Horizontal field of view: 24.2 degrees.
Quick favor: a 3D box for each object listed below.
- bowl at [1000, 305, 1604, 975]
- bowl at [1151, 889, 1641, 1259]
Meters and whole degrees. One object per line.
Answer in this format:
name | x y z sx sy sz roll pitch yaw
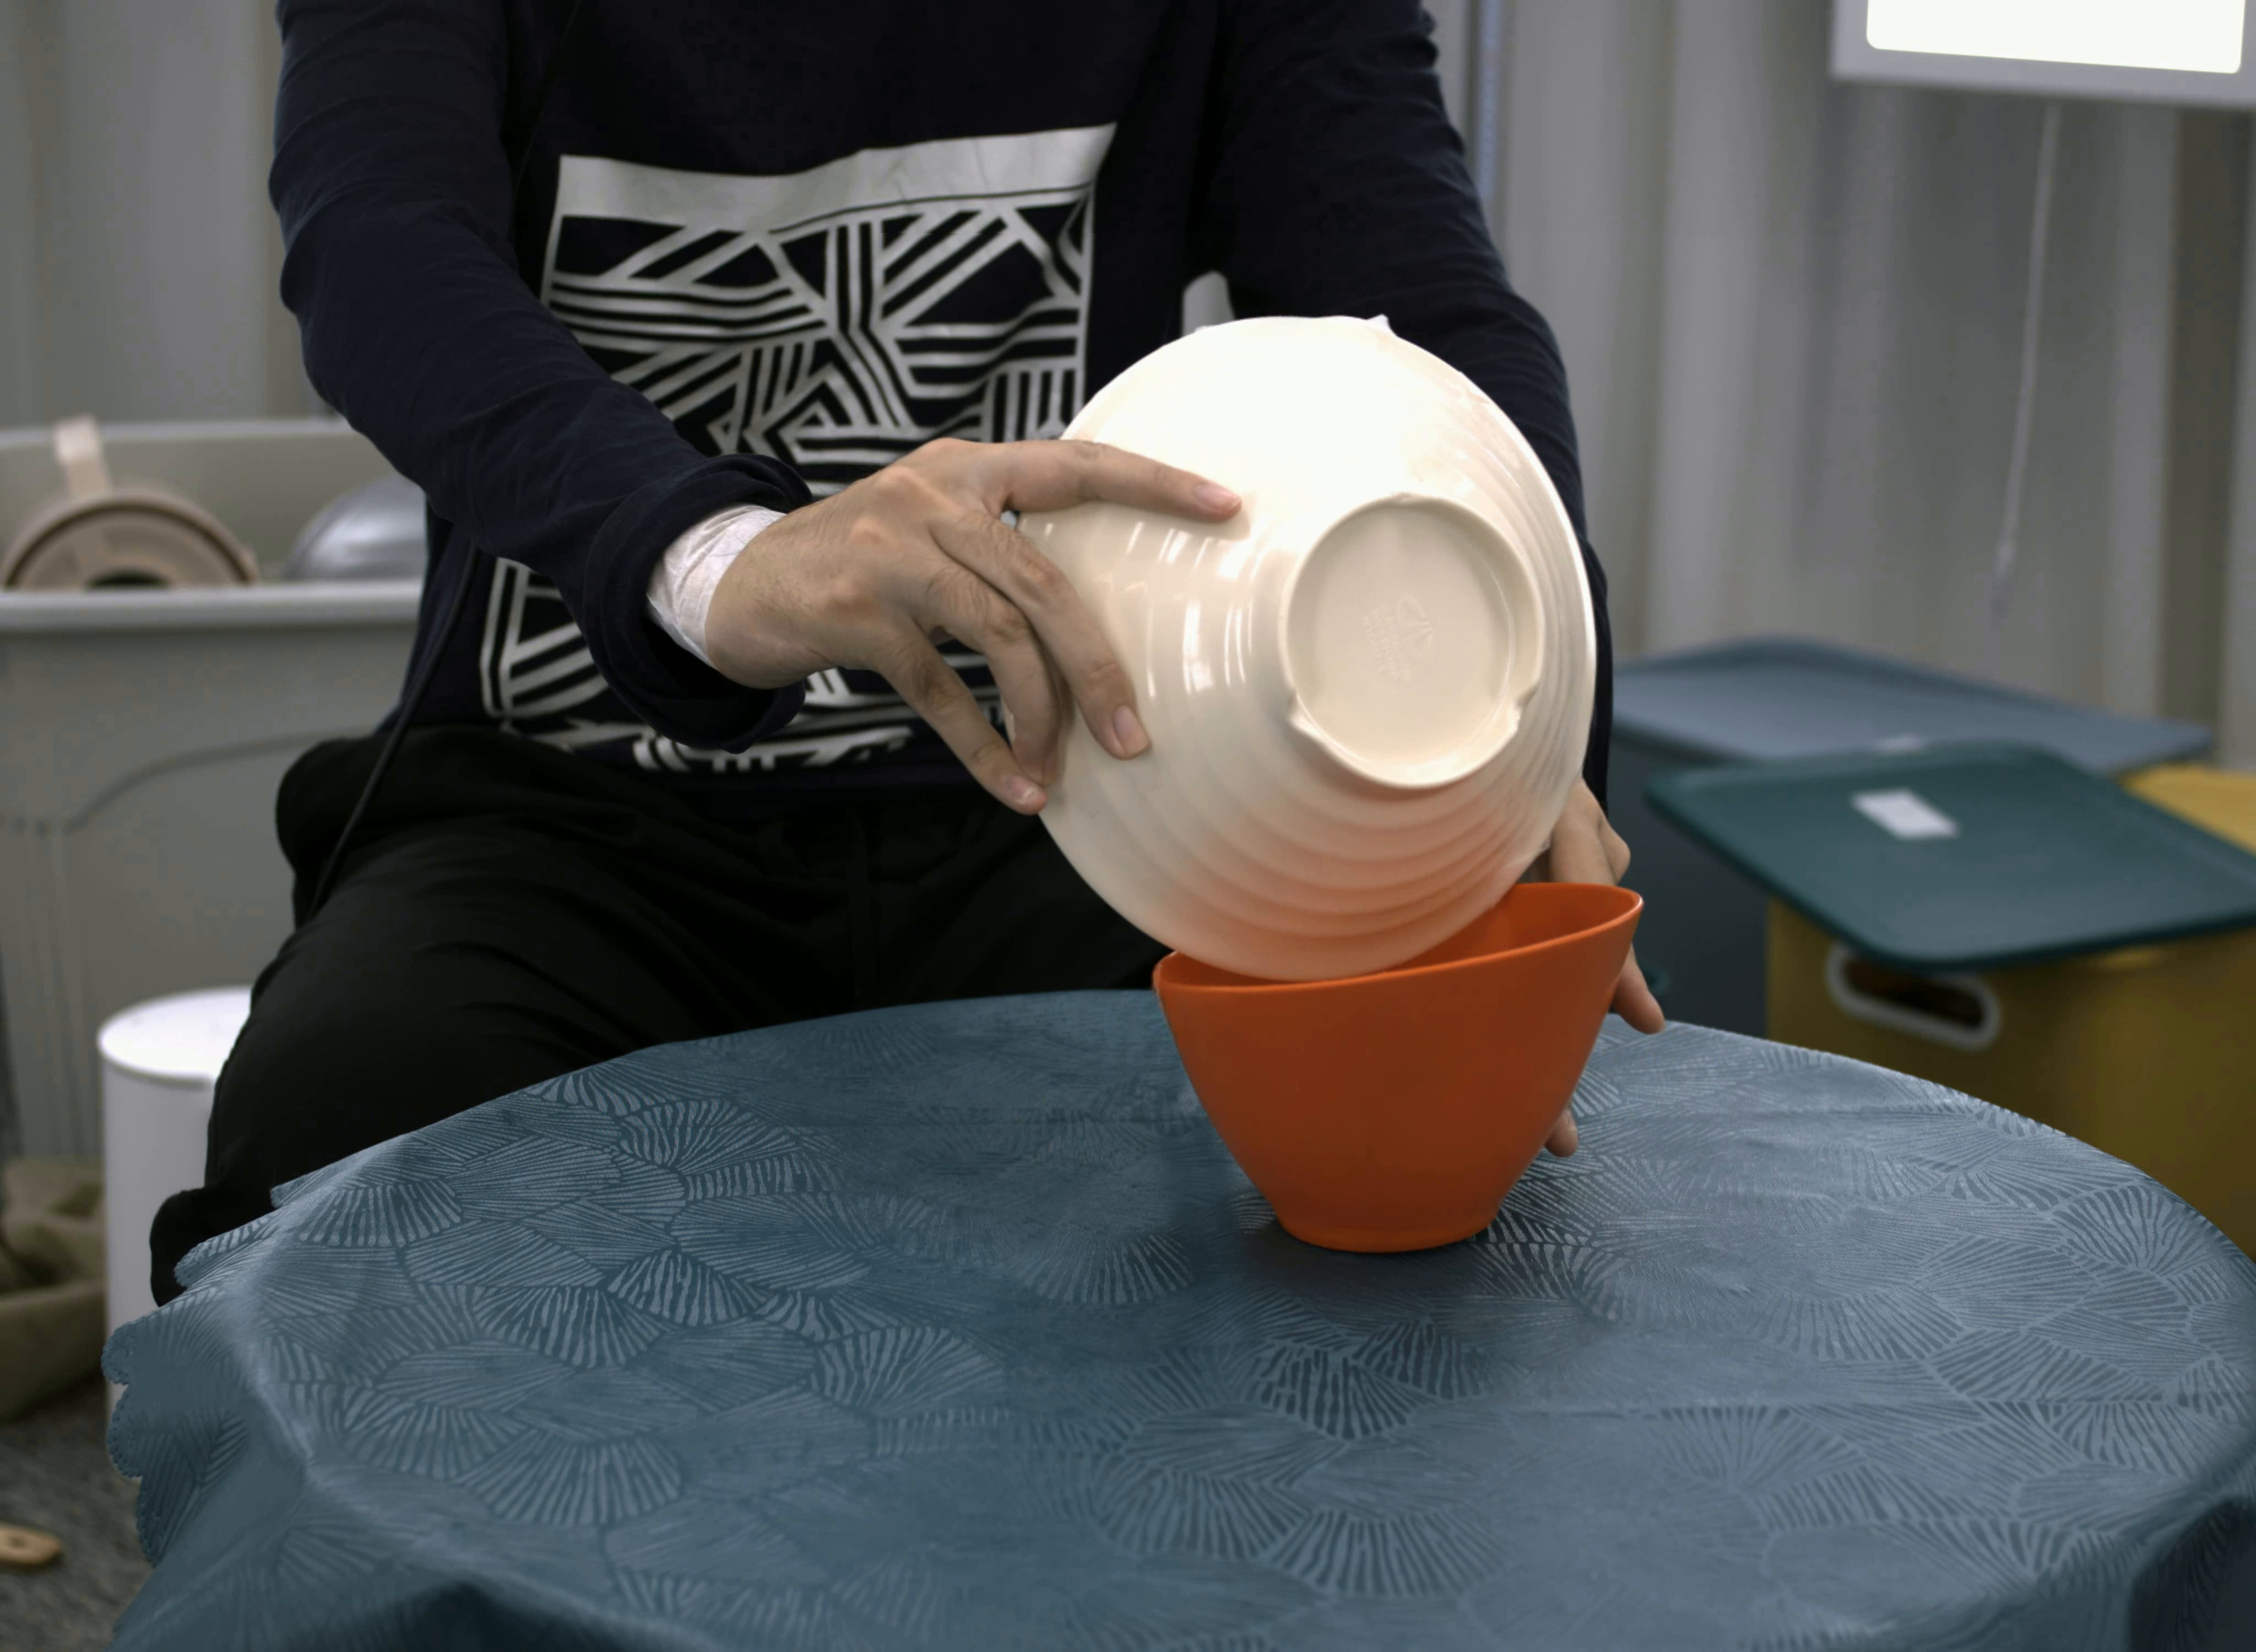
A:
bowl | 0.069 -0.057 1.560 0.205 0.205 0.077 -7 2 -25
bowl | 0.082 0.073 1.577 0.147 0.105 0.147 -4 14 1
